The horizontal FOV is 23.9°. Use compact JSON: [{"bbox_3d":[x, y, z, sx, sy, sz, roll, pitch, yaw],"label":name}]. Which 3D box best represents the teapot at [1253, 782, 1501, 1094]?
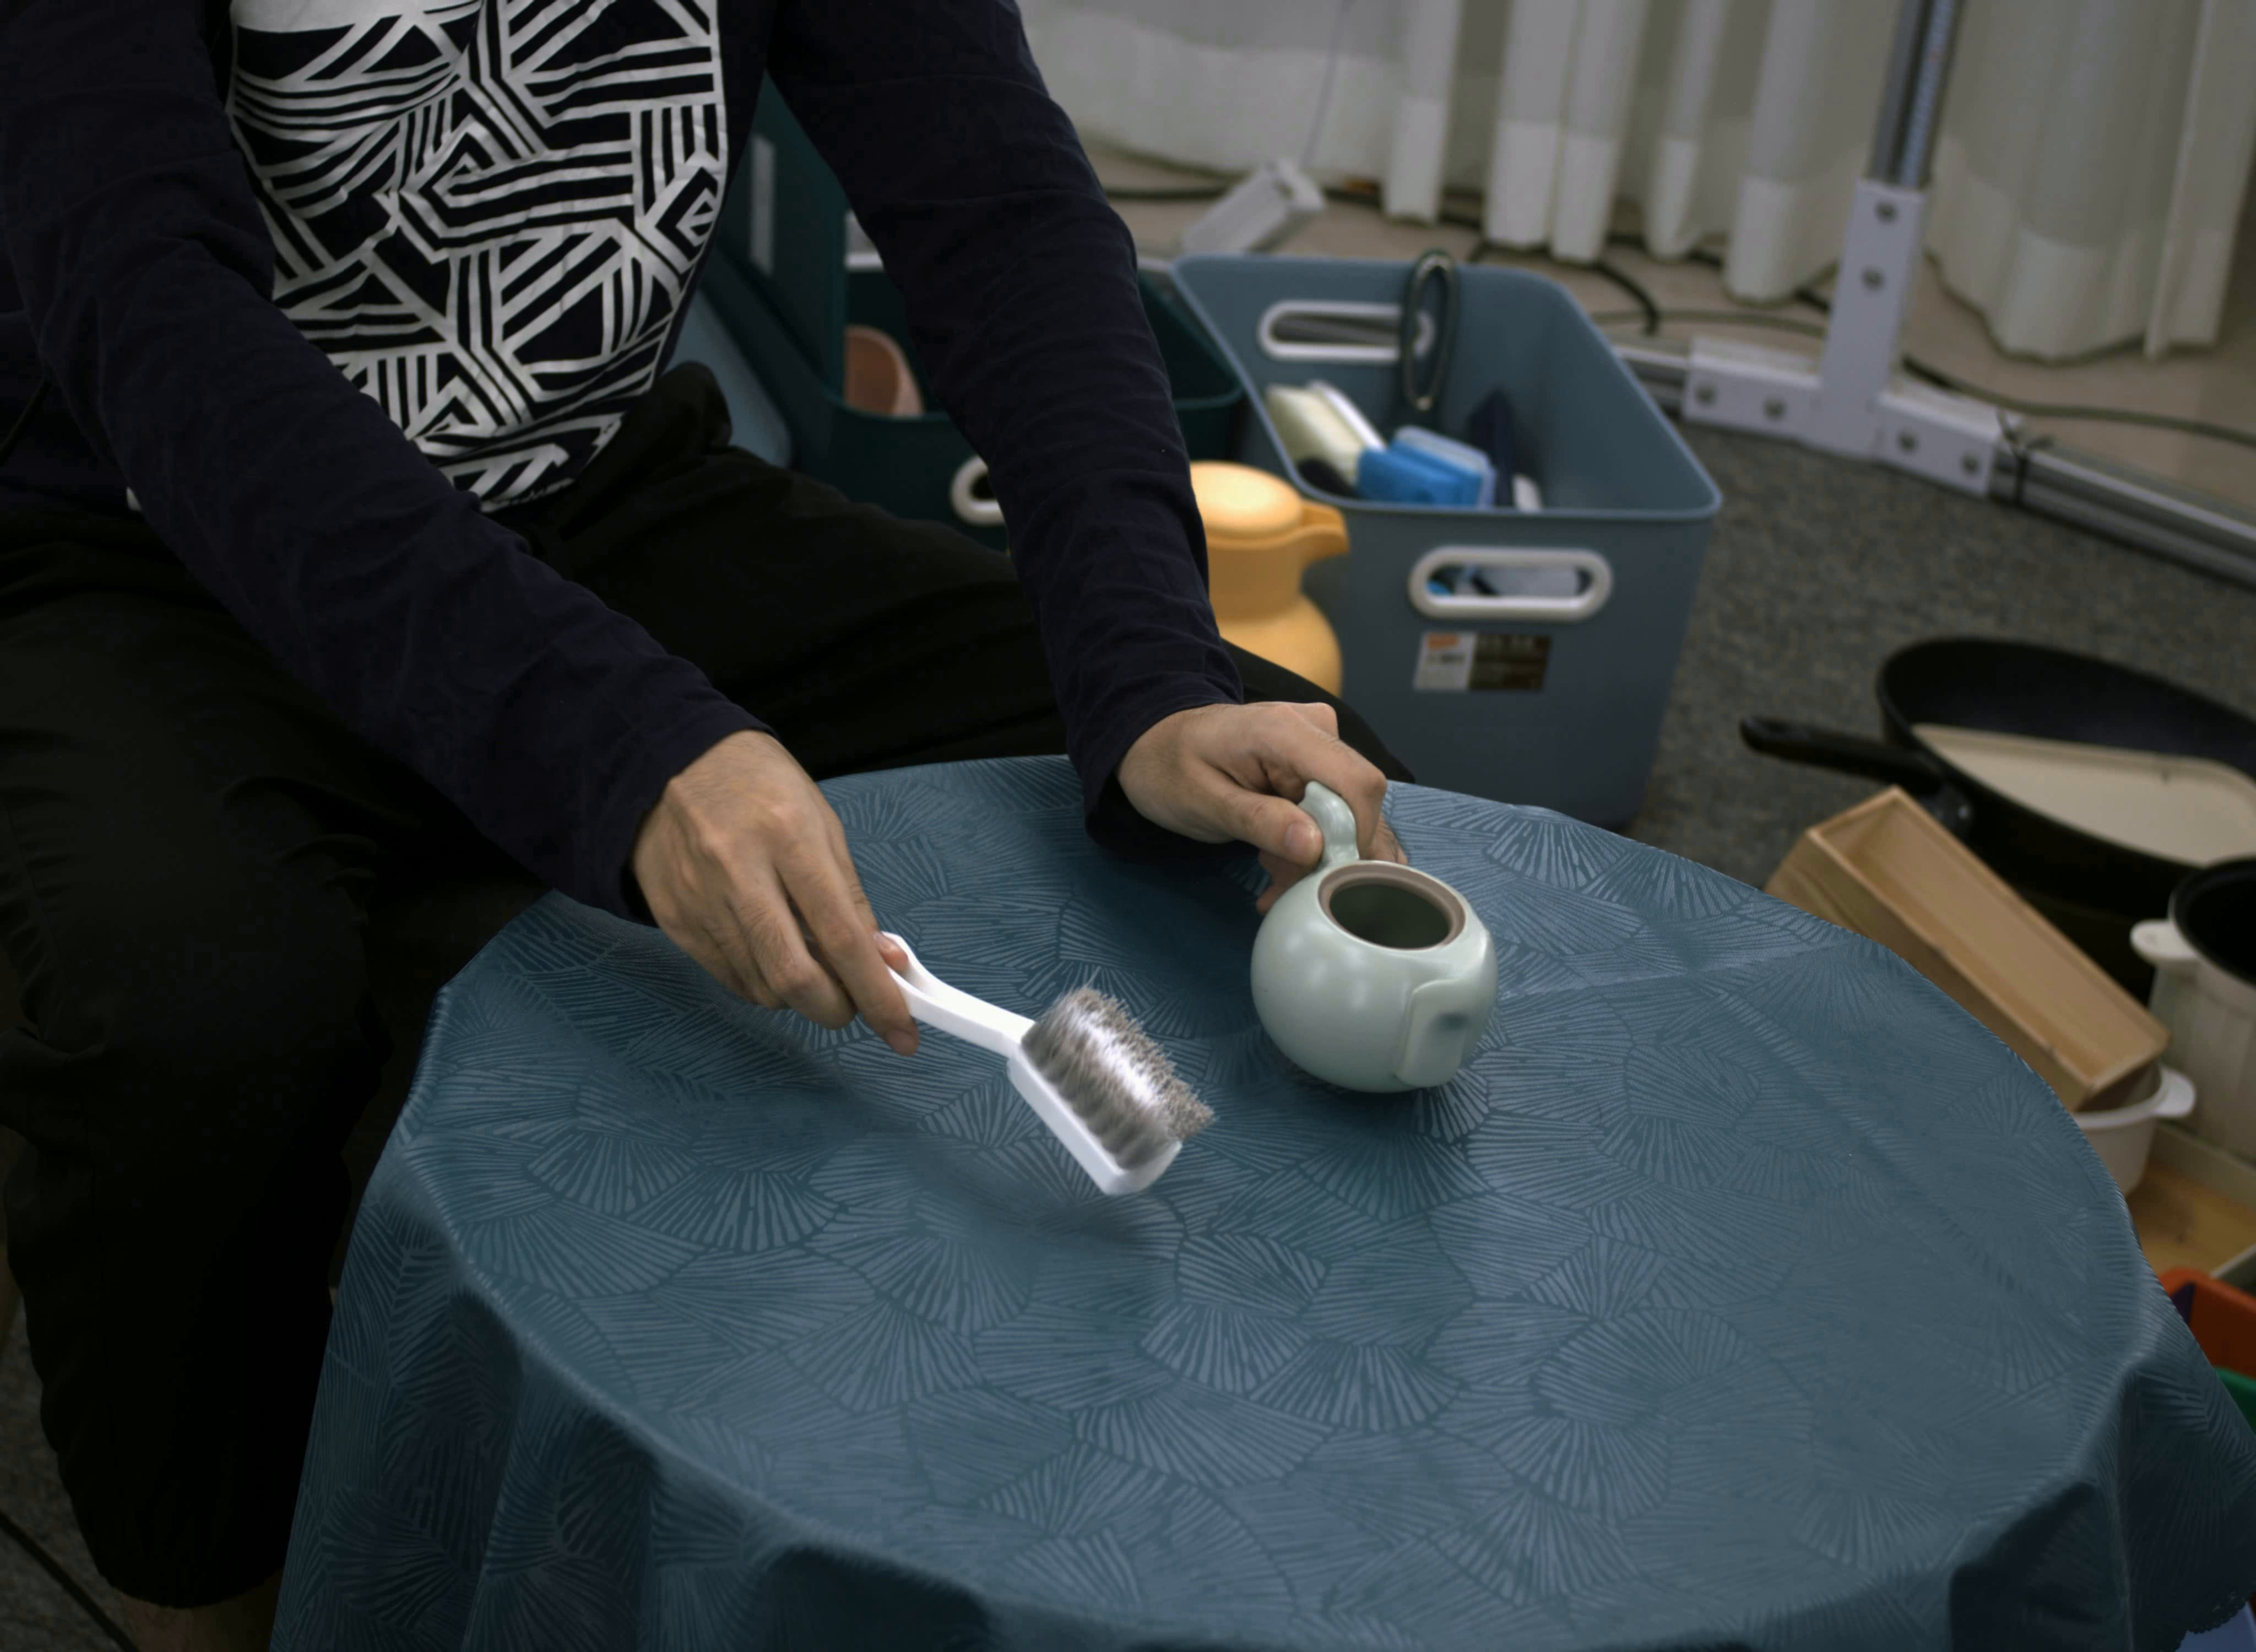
[{"bbox_3d":[0.088,0.053,1.882,0.088,0.074,0.145,-4,38,-21],"label":"teapot"}]

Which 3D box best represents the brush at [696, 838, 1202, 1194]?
[{"bbox_3d":[-0.065,0.048,1.823,0.034,0.050,0.245,-13,37,-42],"label":"brush"}]
